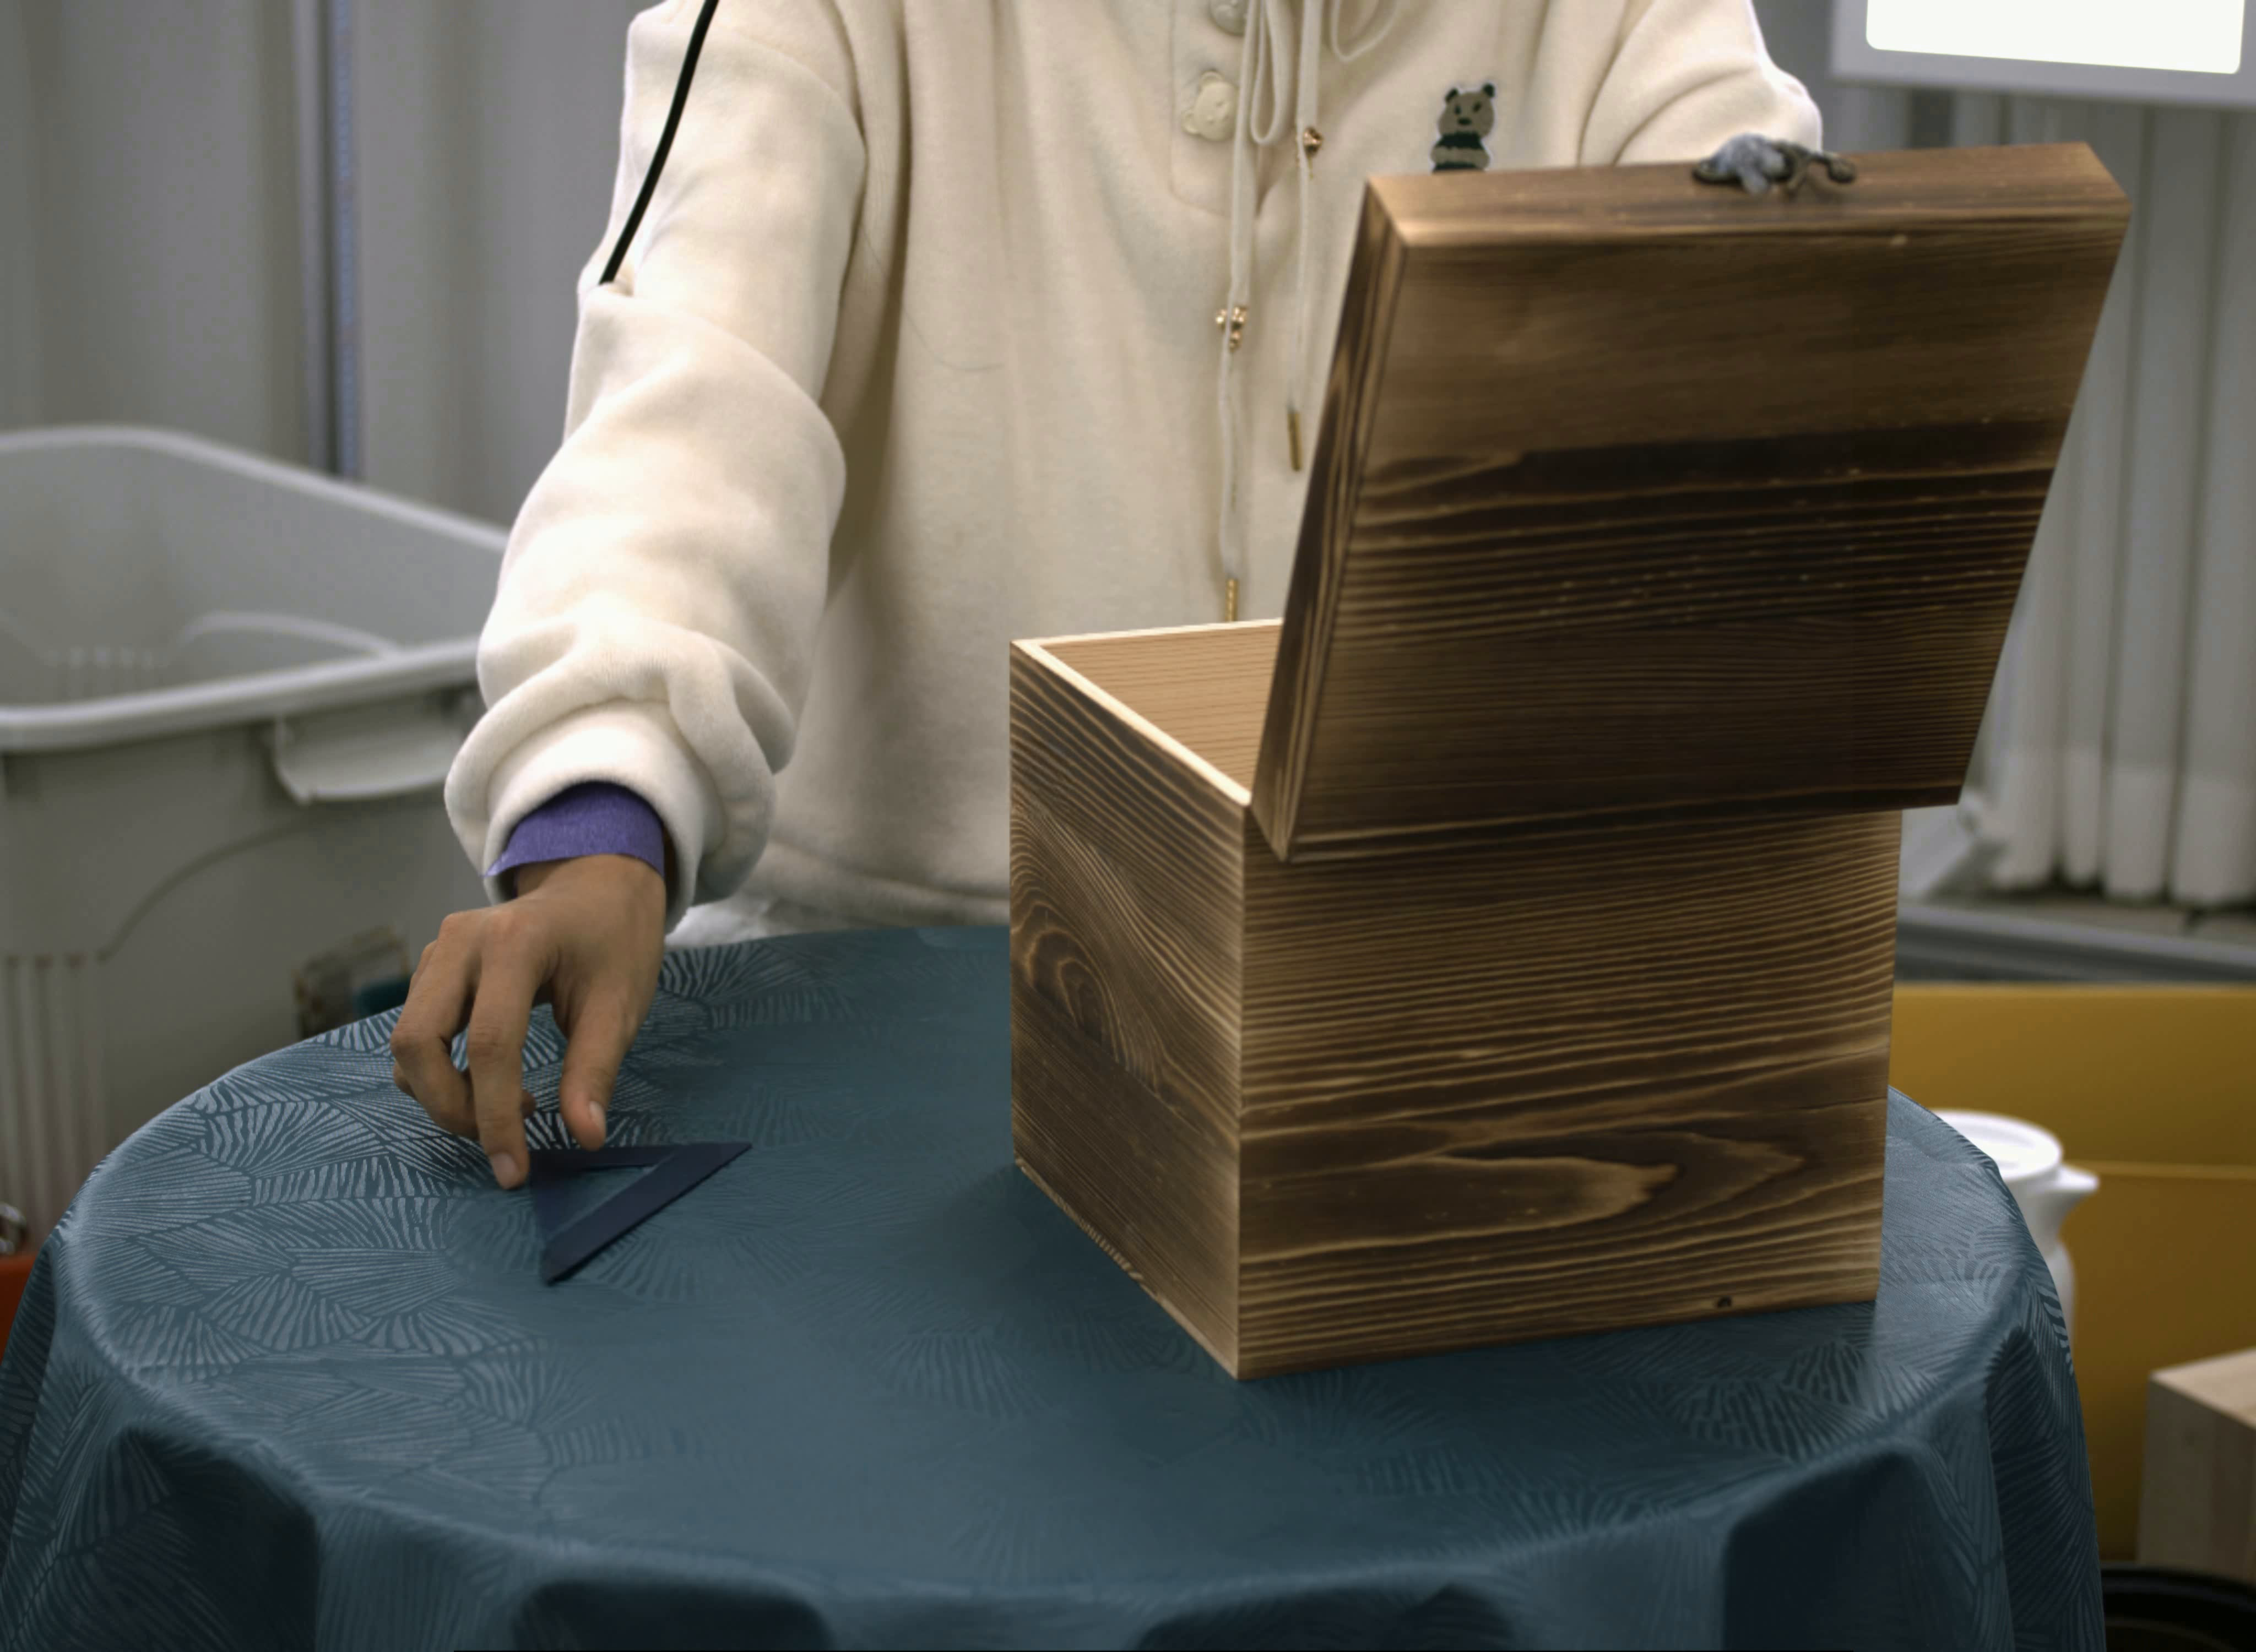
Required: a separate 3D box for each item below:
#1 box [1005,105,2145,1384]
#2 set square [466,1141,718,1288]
[{"bbox_3d":[0.112,-0.036,1.493,0.209,0.378,0.318,-5,18,-19],"label":"box"},{"bbox_3d":[-0.180,0.113,1.600,0.060,0.006,0.132,12,19,23],"label":"set square"}]
